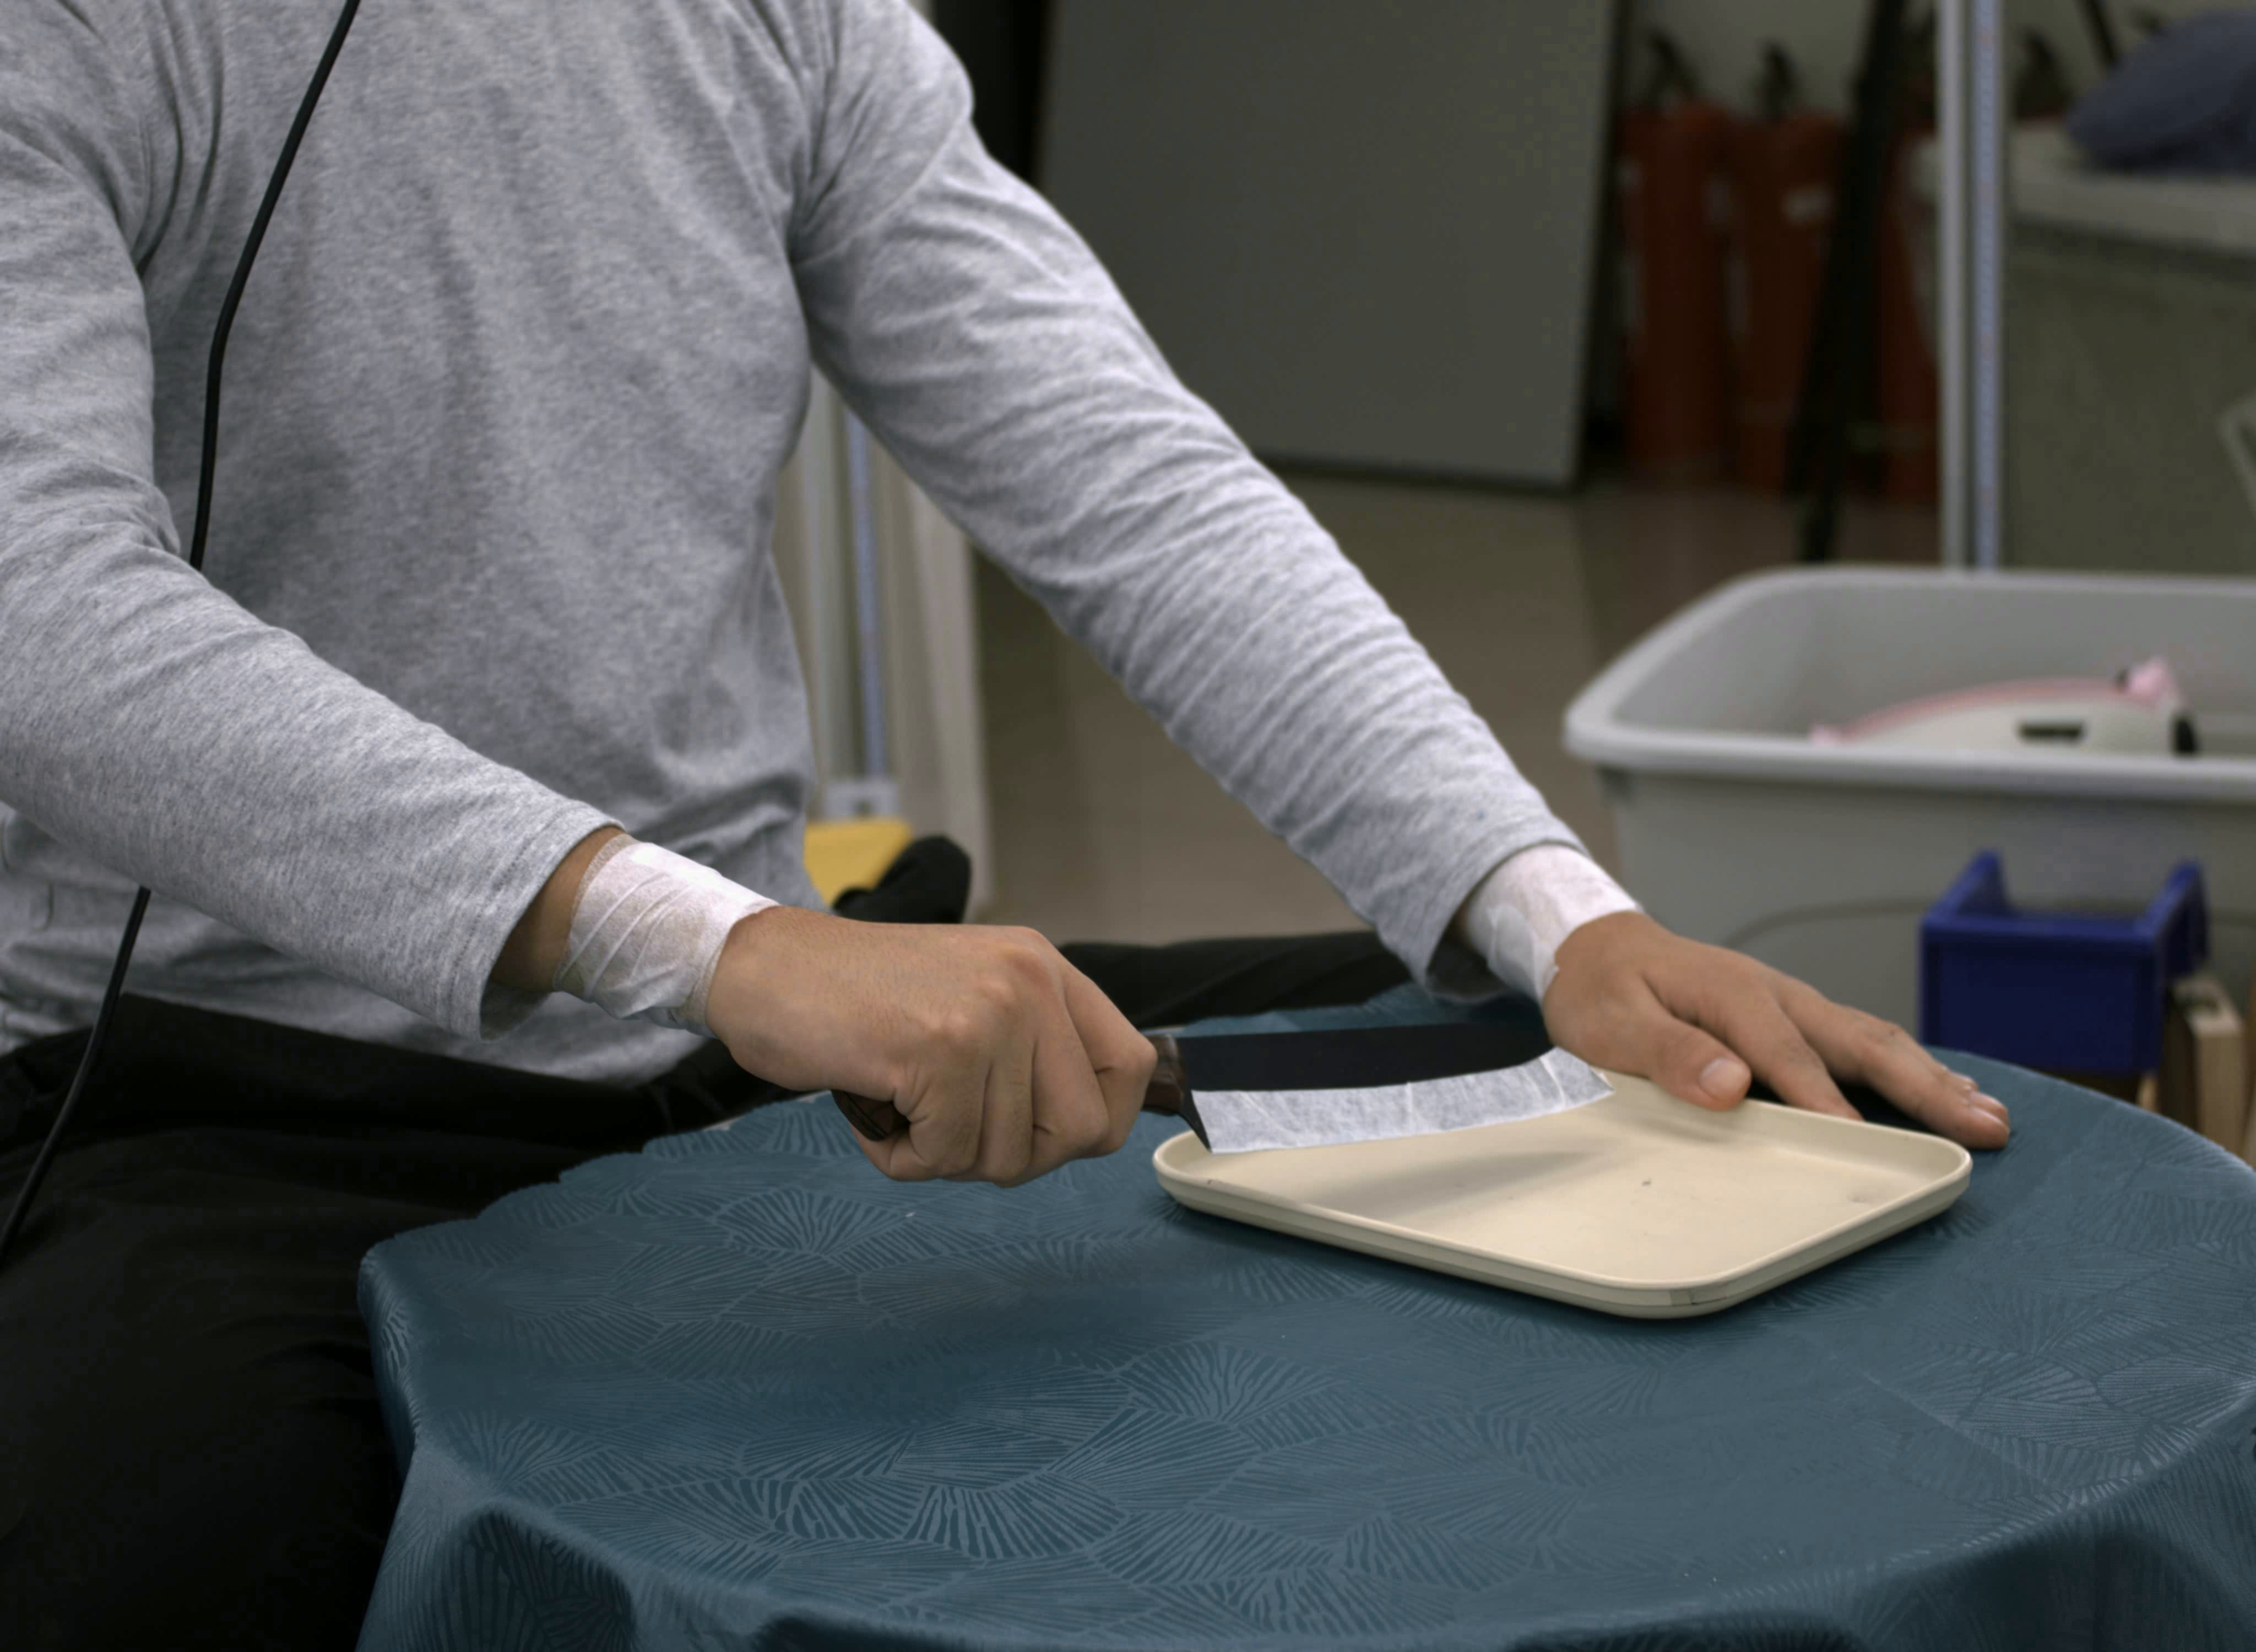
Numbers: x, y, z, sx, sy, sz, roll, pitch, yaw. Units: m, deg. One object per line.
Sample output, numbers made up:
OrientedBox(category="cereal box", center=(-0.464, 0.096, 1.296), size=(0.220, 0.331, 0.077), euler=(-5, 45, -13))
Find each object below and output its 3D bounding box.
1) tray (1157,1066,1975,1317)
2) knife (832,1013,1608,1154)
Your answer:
OrientedBox(category="tray", center=(0.139, 0.114, 1.728), size=(0.168, 0.017, 0.242), euler=(-16, 18, -42))
OrientedBox(category="knife", center=(0.036, 0.082, 1.696), size=(0.282, 0.020, 0.051), euler=(0, 54, -30))
